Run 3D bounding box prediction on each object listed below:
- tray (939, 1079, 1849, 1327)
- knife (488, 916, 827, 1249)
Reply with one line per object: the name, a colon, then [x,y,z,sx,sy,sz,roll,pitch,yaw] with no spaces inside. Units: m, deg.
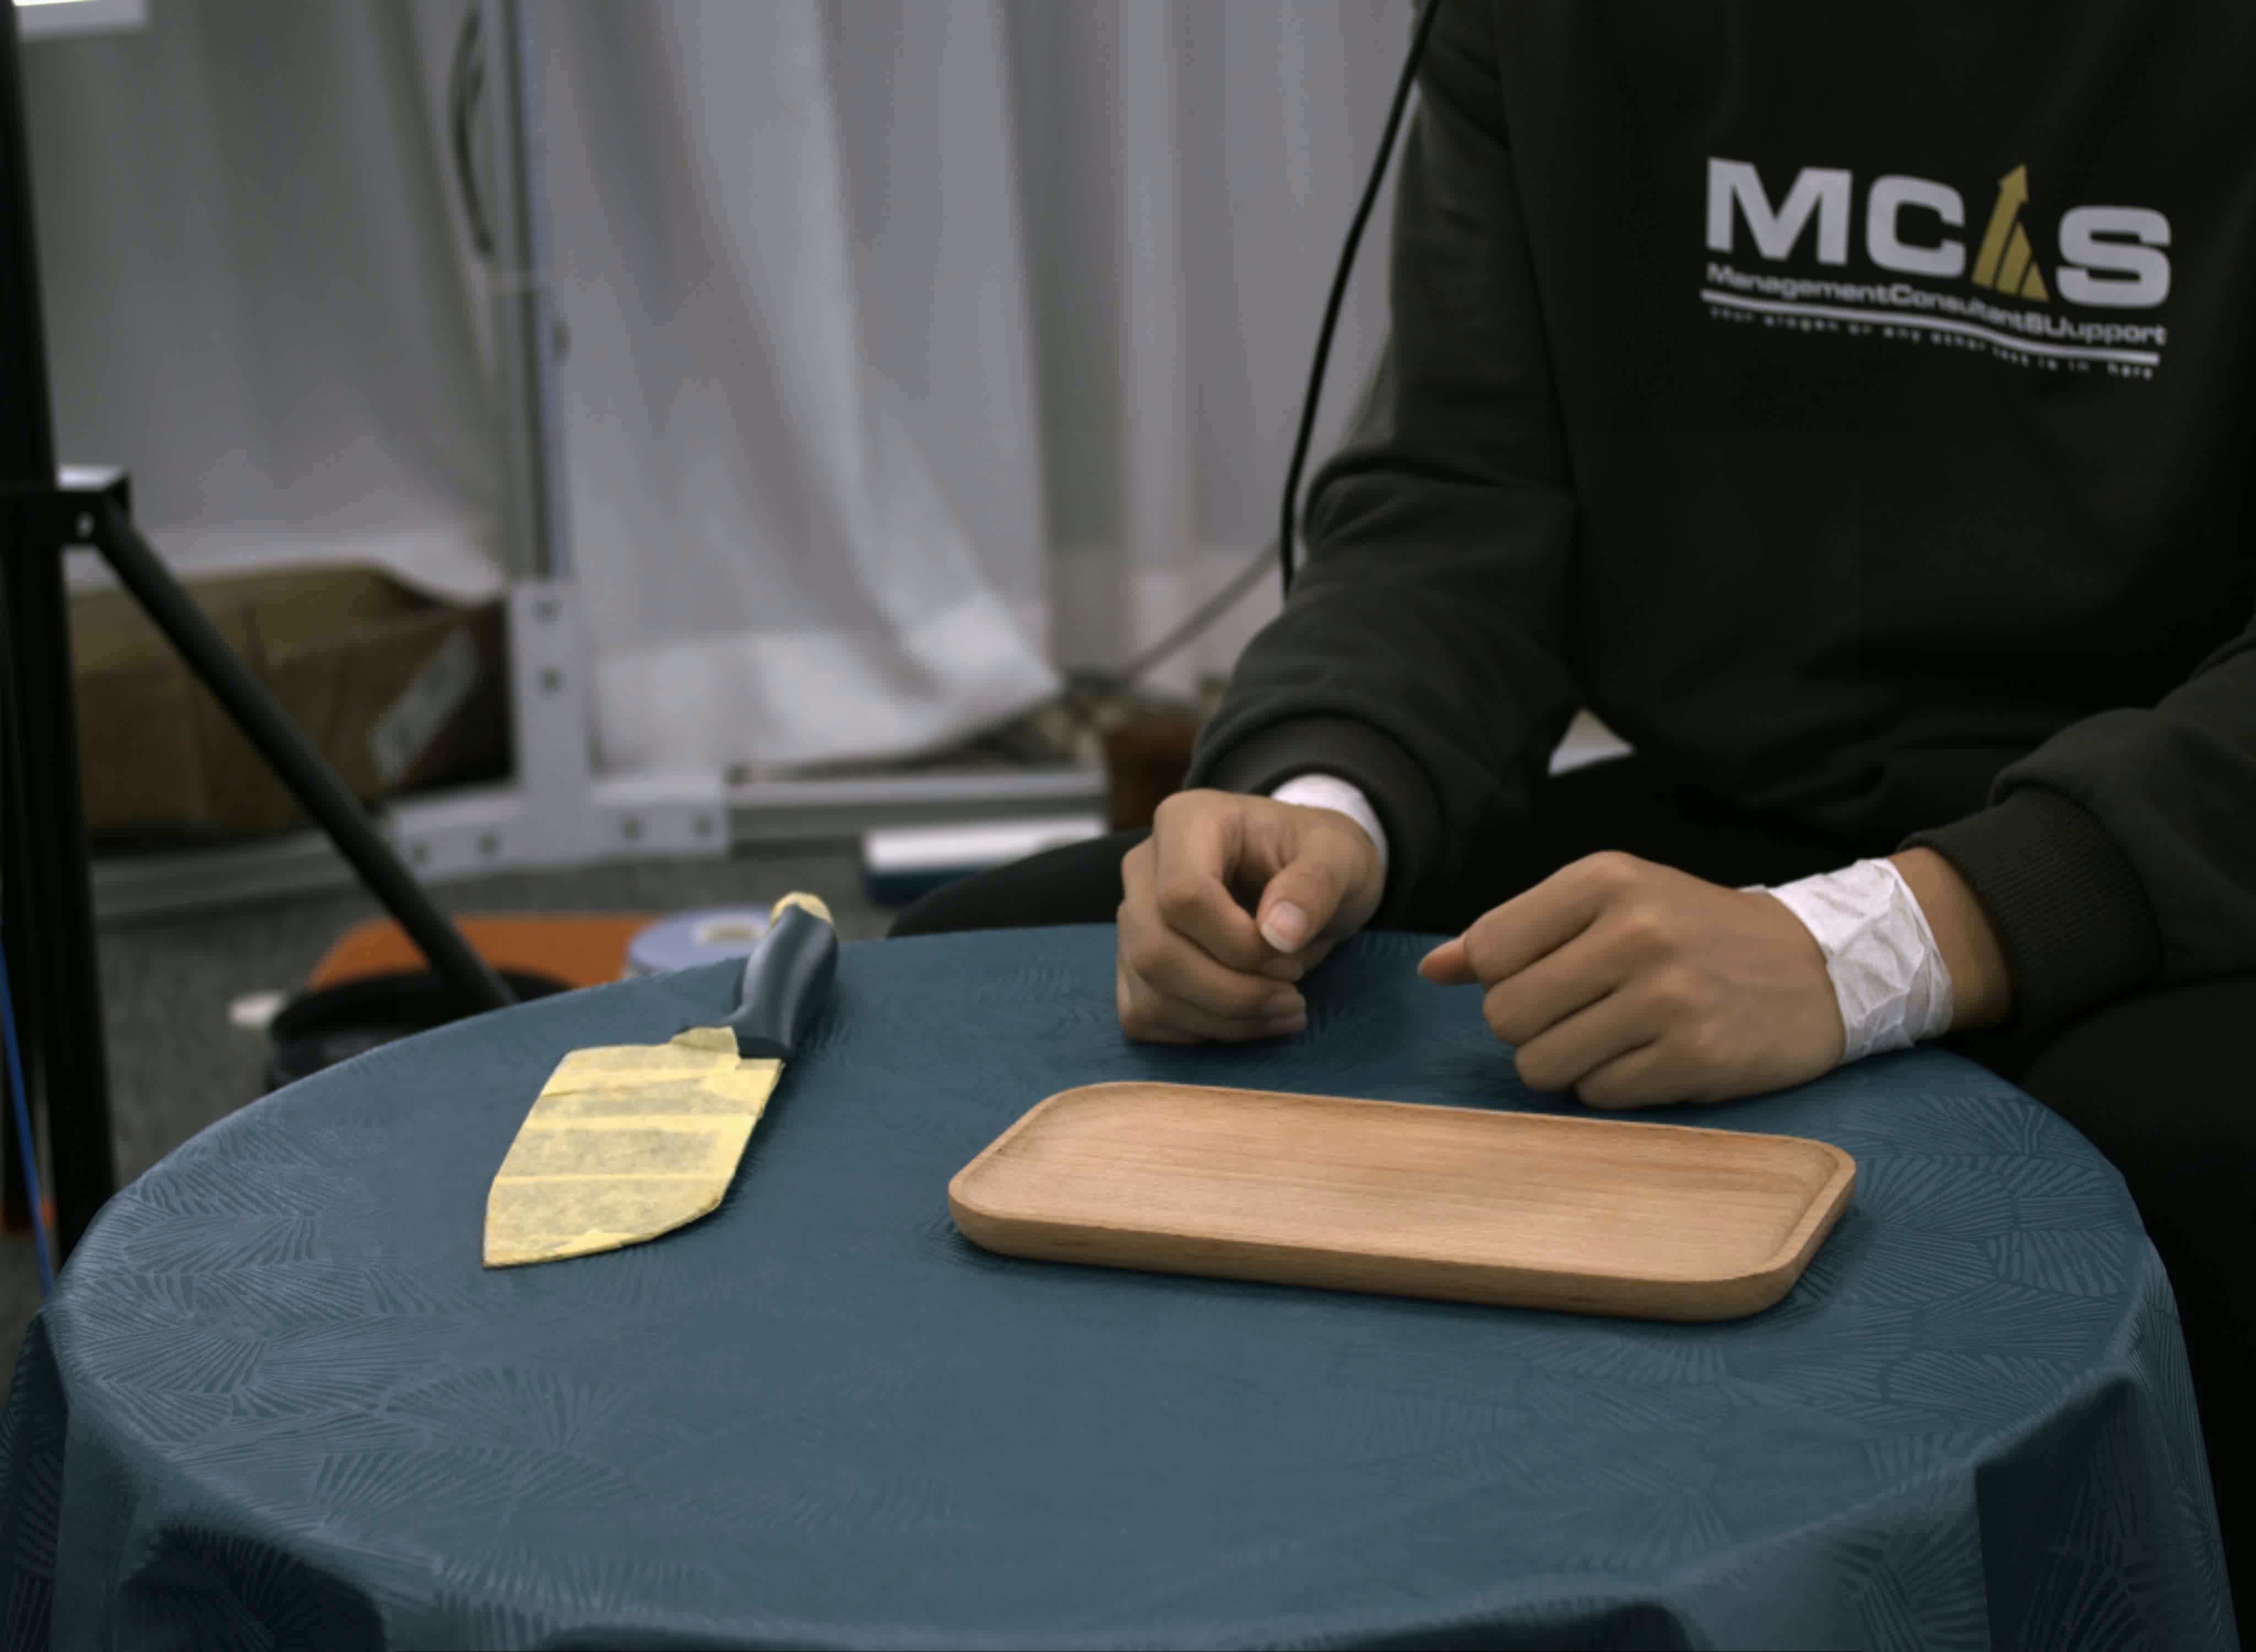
tray: [0.076,0.107,1.522,0.254,0.023,0.129,4,14,22]
knife: [-0.142,0.080,1.658,0.081,0.027,0.288,2,17,9]
